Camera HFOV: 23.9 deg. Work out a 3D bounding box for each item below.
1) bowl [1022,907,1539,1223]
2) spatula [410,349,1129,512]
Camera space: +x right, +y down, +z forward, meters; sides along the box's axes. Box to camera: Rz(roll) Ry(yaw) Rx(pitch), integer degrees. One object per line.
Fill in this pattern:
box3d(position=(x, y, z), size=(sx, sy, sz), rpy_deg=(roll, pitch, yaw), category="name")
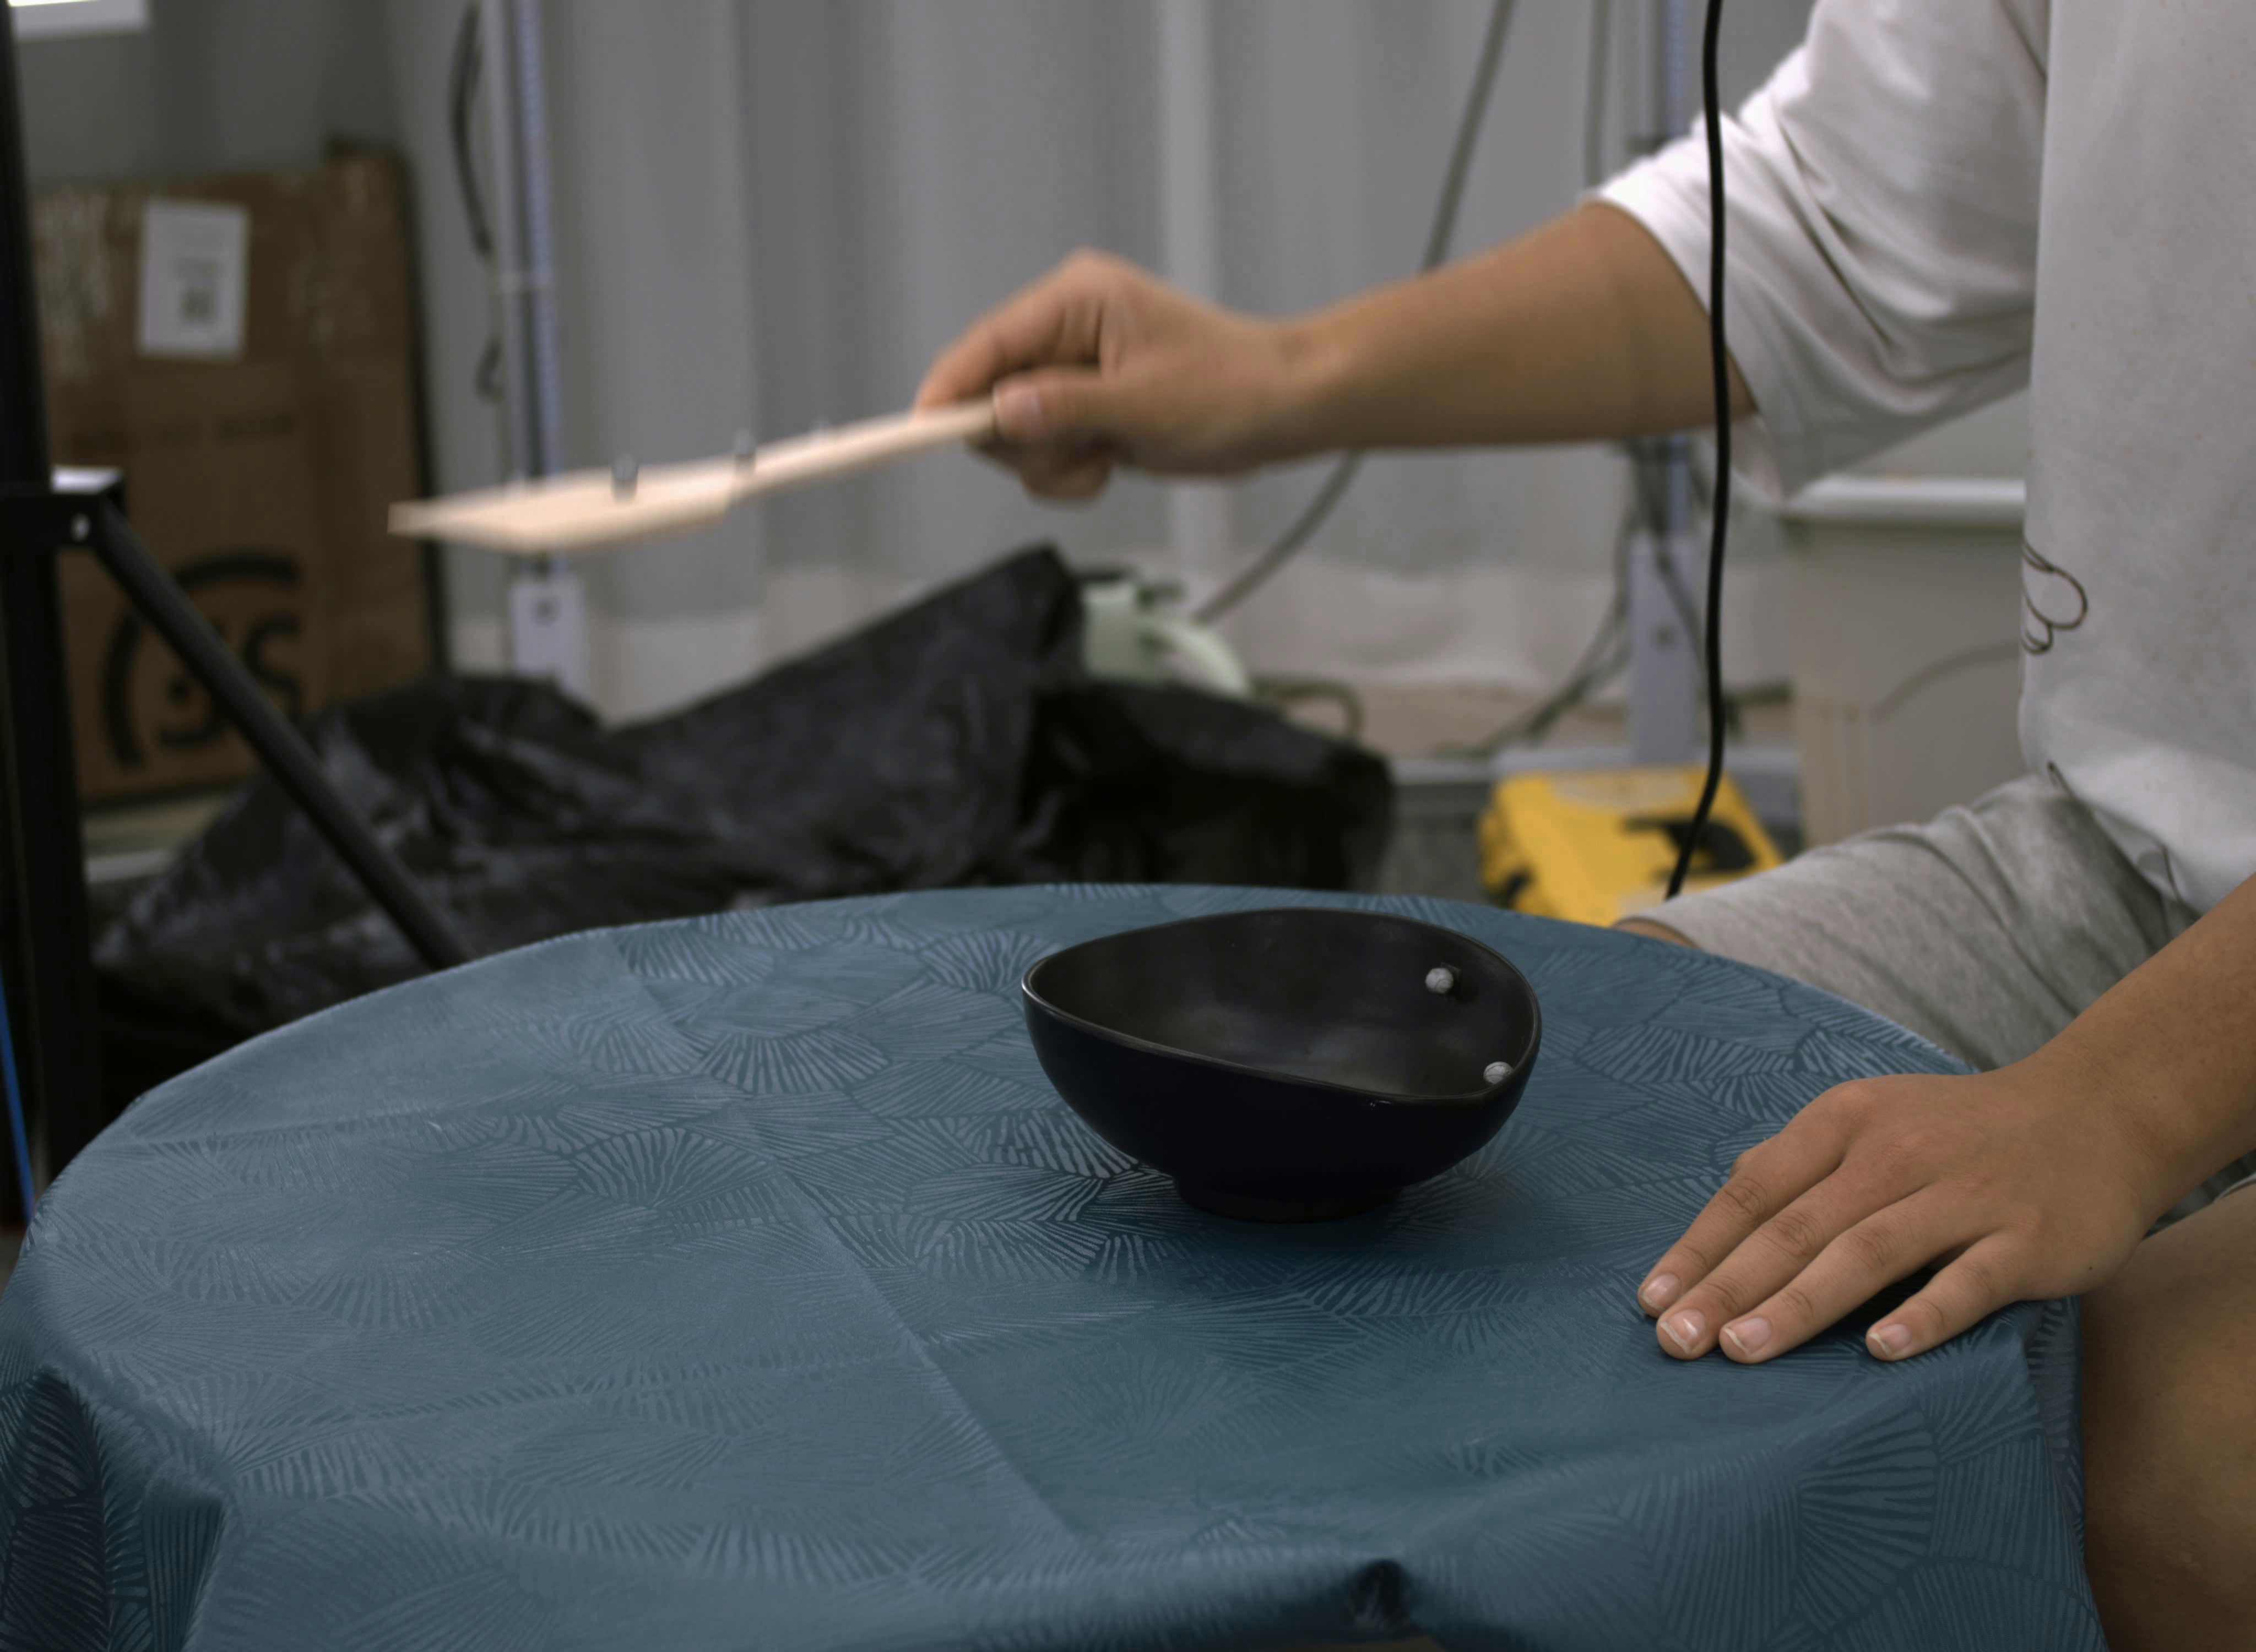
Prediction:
box3d(position=(0.046, 0.074, 1.554), size=(0.134, 0.067, 0.174), rpy_deg=(-16, 22, -41), category="bowl")
box3d(position=(-0.104, -0.129, 1.732), size=(0.074, 0.010, 0.286), rpy_deg=(10, 19, 42), category="spatula")
